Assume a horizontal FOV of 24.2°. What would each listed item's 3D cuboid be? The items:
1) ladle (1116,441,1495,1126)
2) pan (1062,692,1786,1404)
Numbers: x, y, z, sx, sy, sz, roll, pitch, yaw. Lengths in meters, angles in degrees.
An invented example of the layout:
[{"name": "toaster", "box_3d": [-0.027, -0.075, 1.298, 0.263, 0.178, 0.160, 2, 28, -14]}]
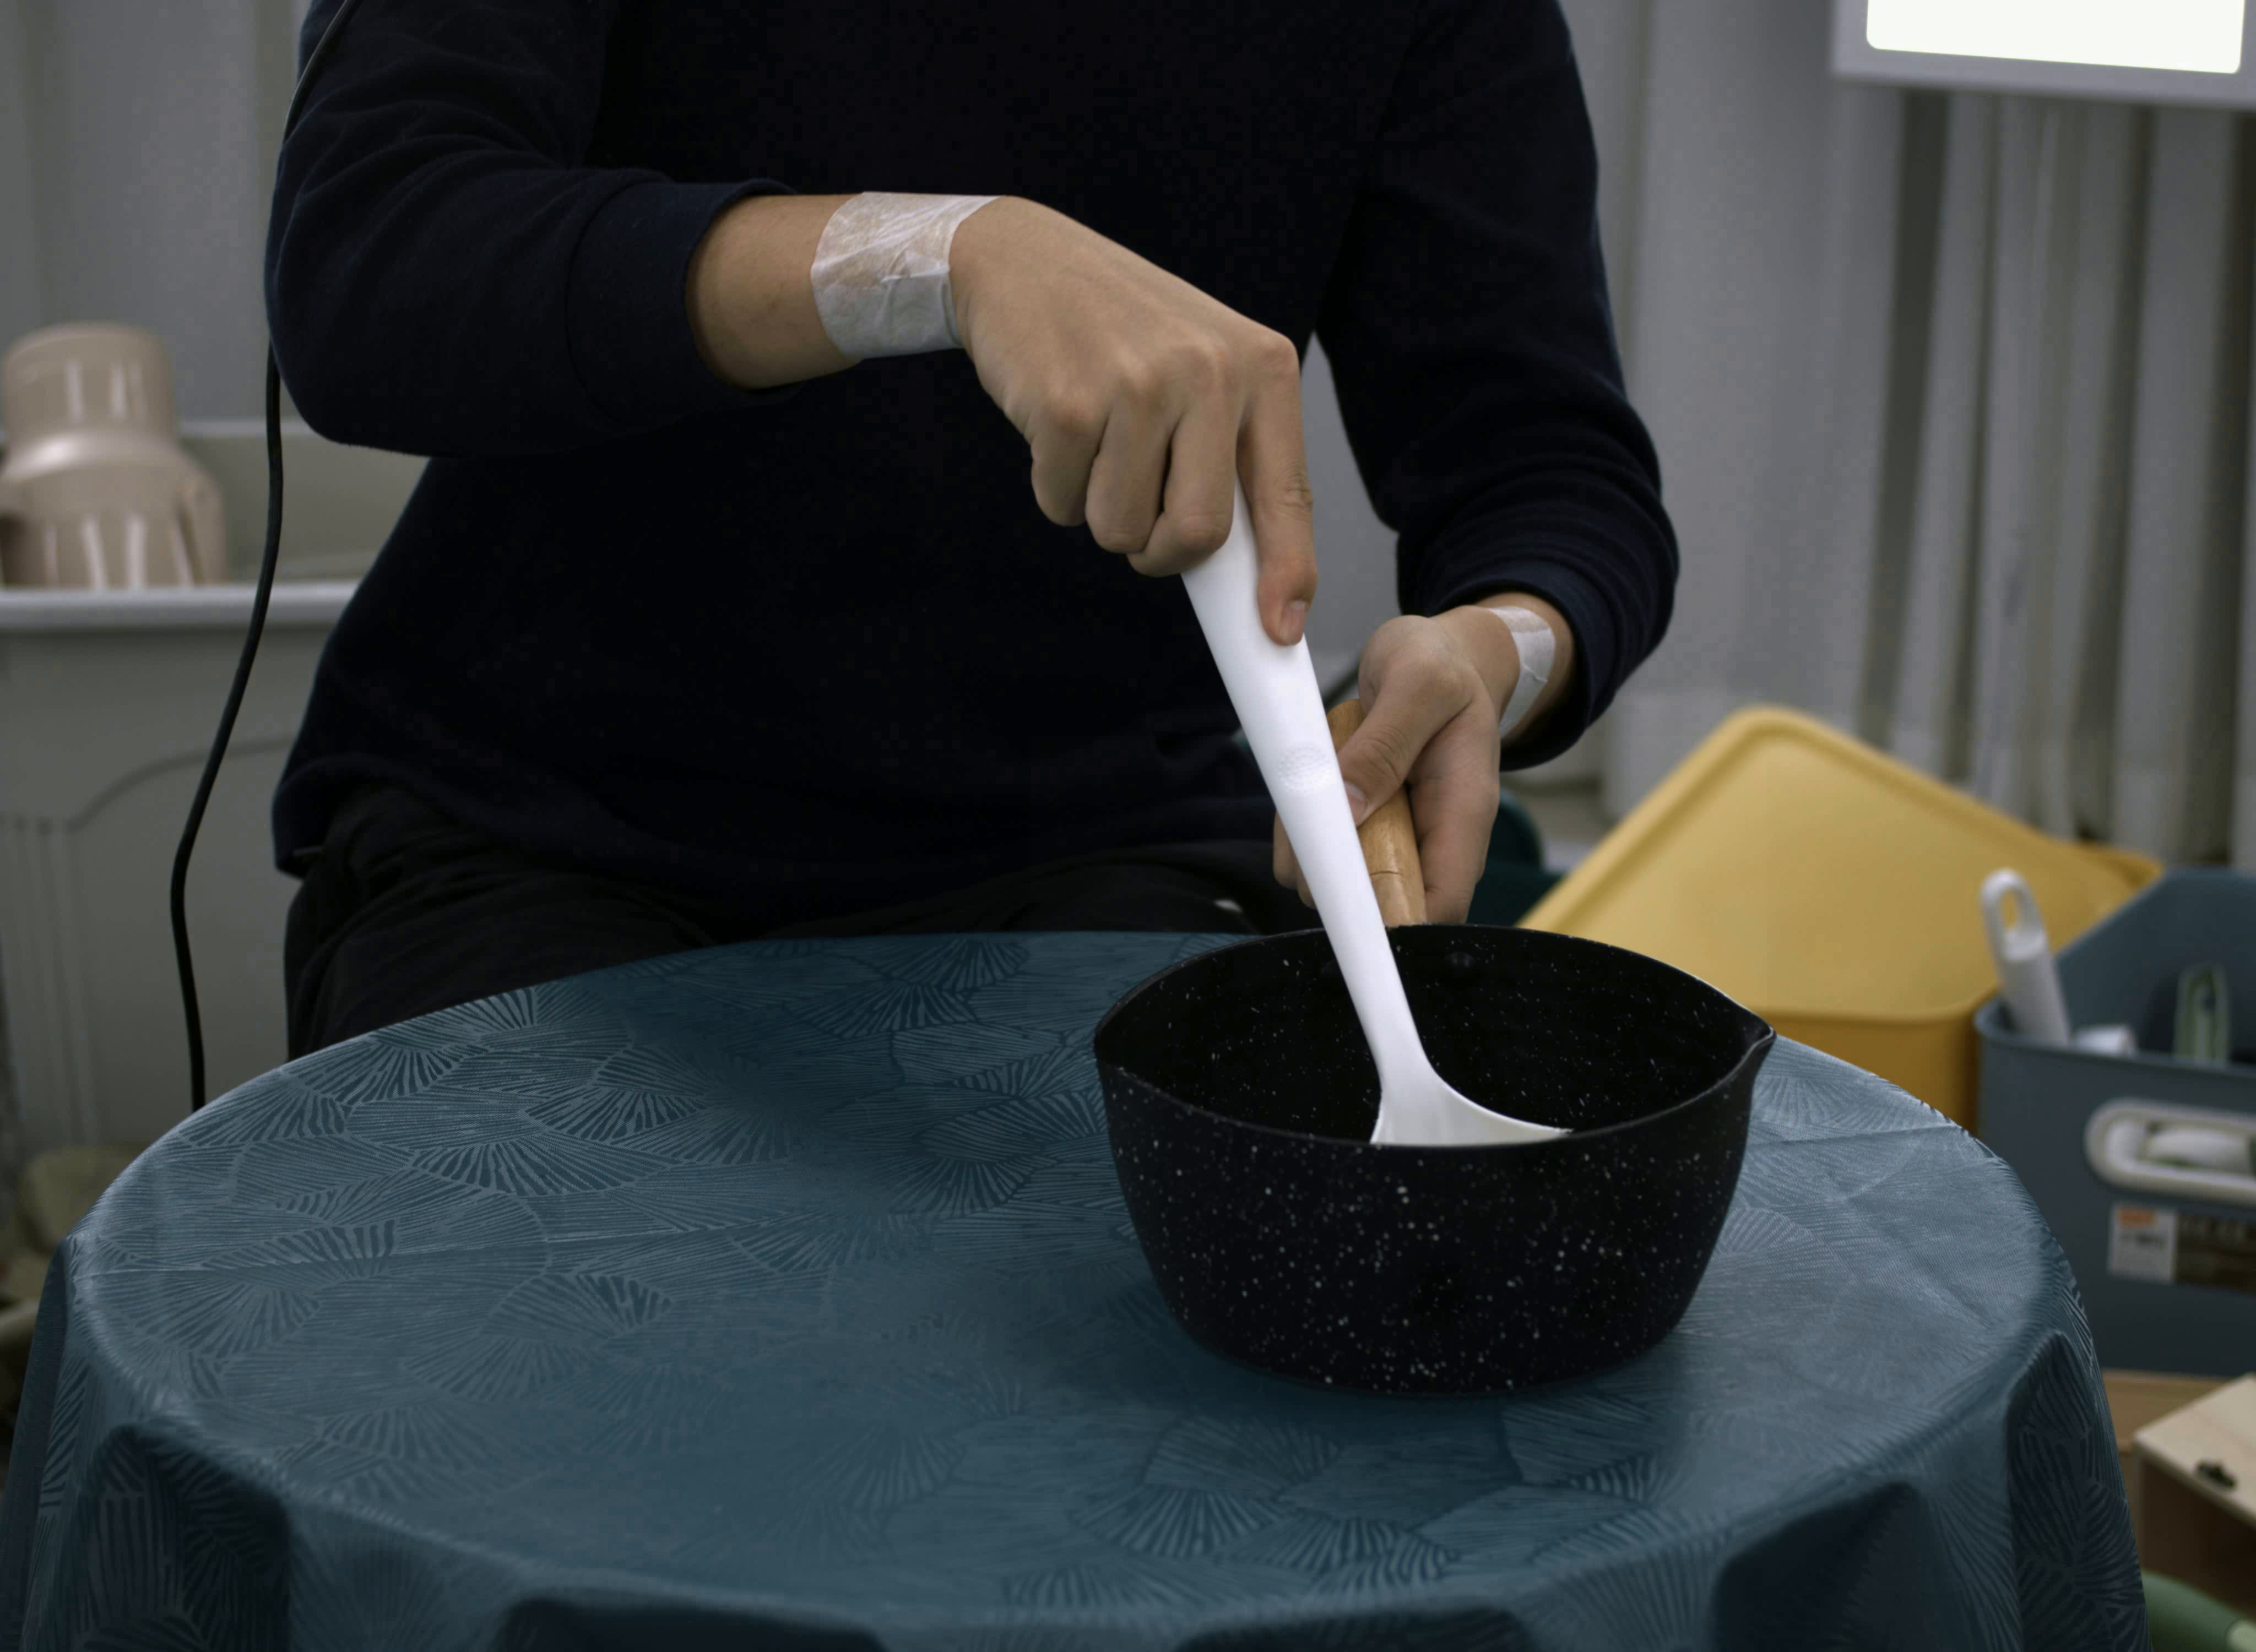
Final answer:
[{"name": "ladle", "box_3d": [0.053, 0.014, 1.538, 0.090, 0.291, 0.070, -20, -18, 3]}, {"name": "pan", "box_3d": [0.080, 0.061, 1.585, 0.207, 0.109, 0.340, -2, 20, -3]}]
